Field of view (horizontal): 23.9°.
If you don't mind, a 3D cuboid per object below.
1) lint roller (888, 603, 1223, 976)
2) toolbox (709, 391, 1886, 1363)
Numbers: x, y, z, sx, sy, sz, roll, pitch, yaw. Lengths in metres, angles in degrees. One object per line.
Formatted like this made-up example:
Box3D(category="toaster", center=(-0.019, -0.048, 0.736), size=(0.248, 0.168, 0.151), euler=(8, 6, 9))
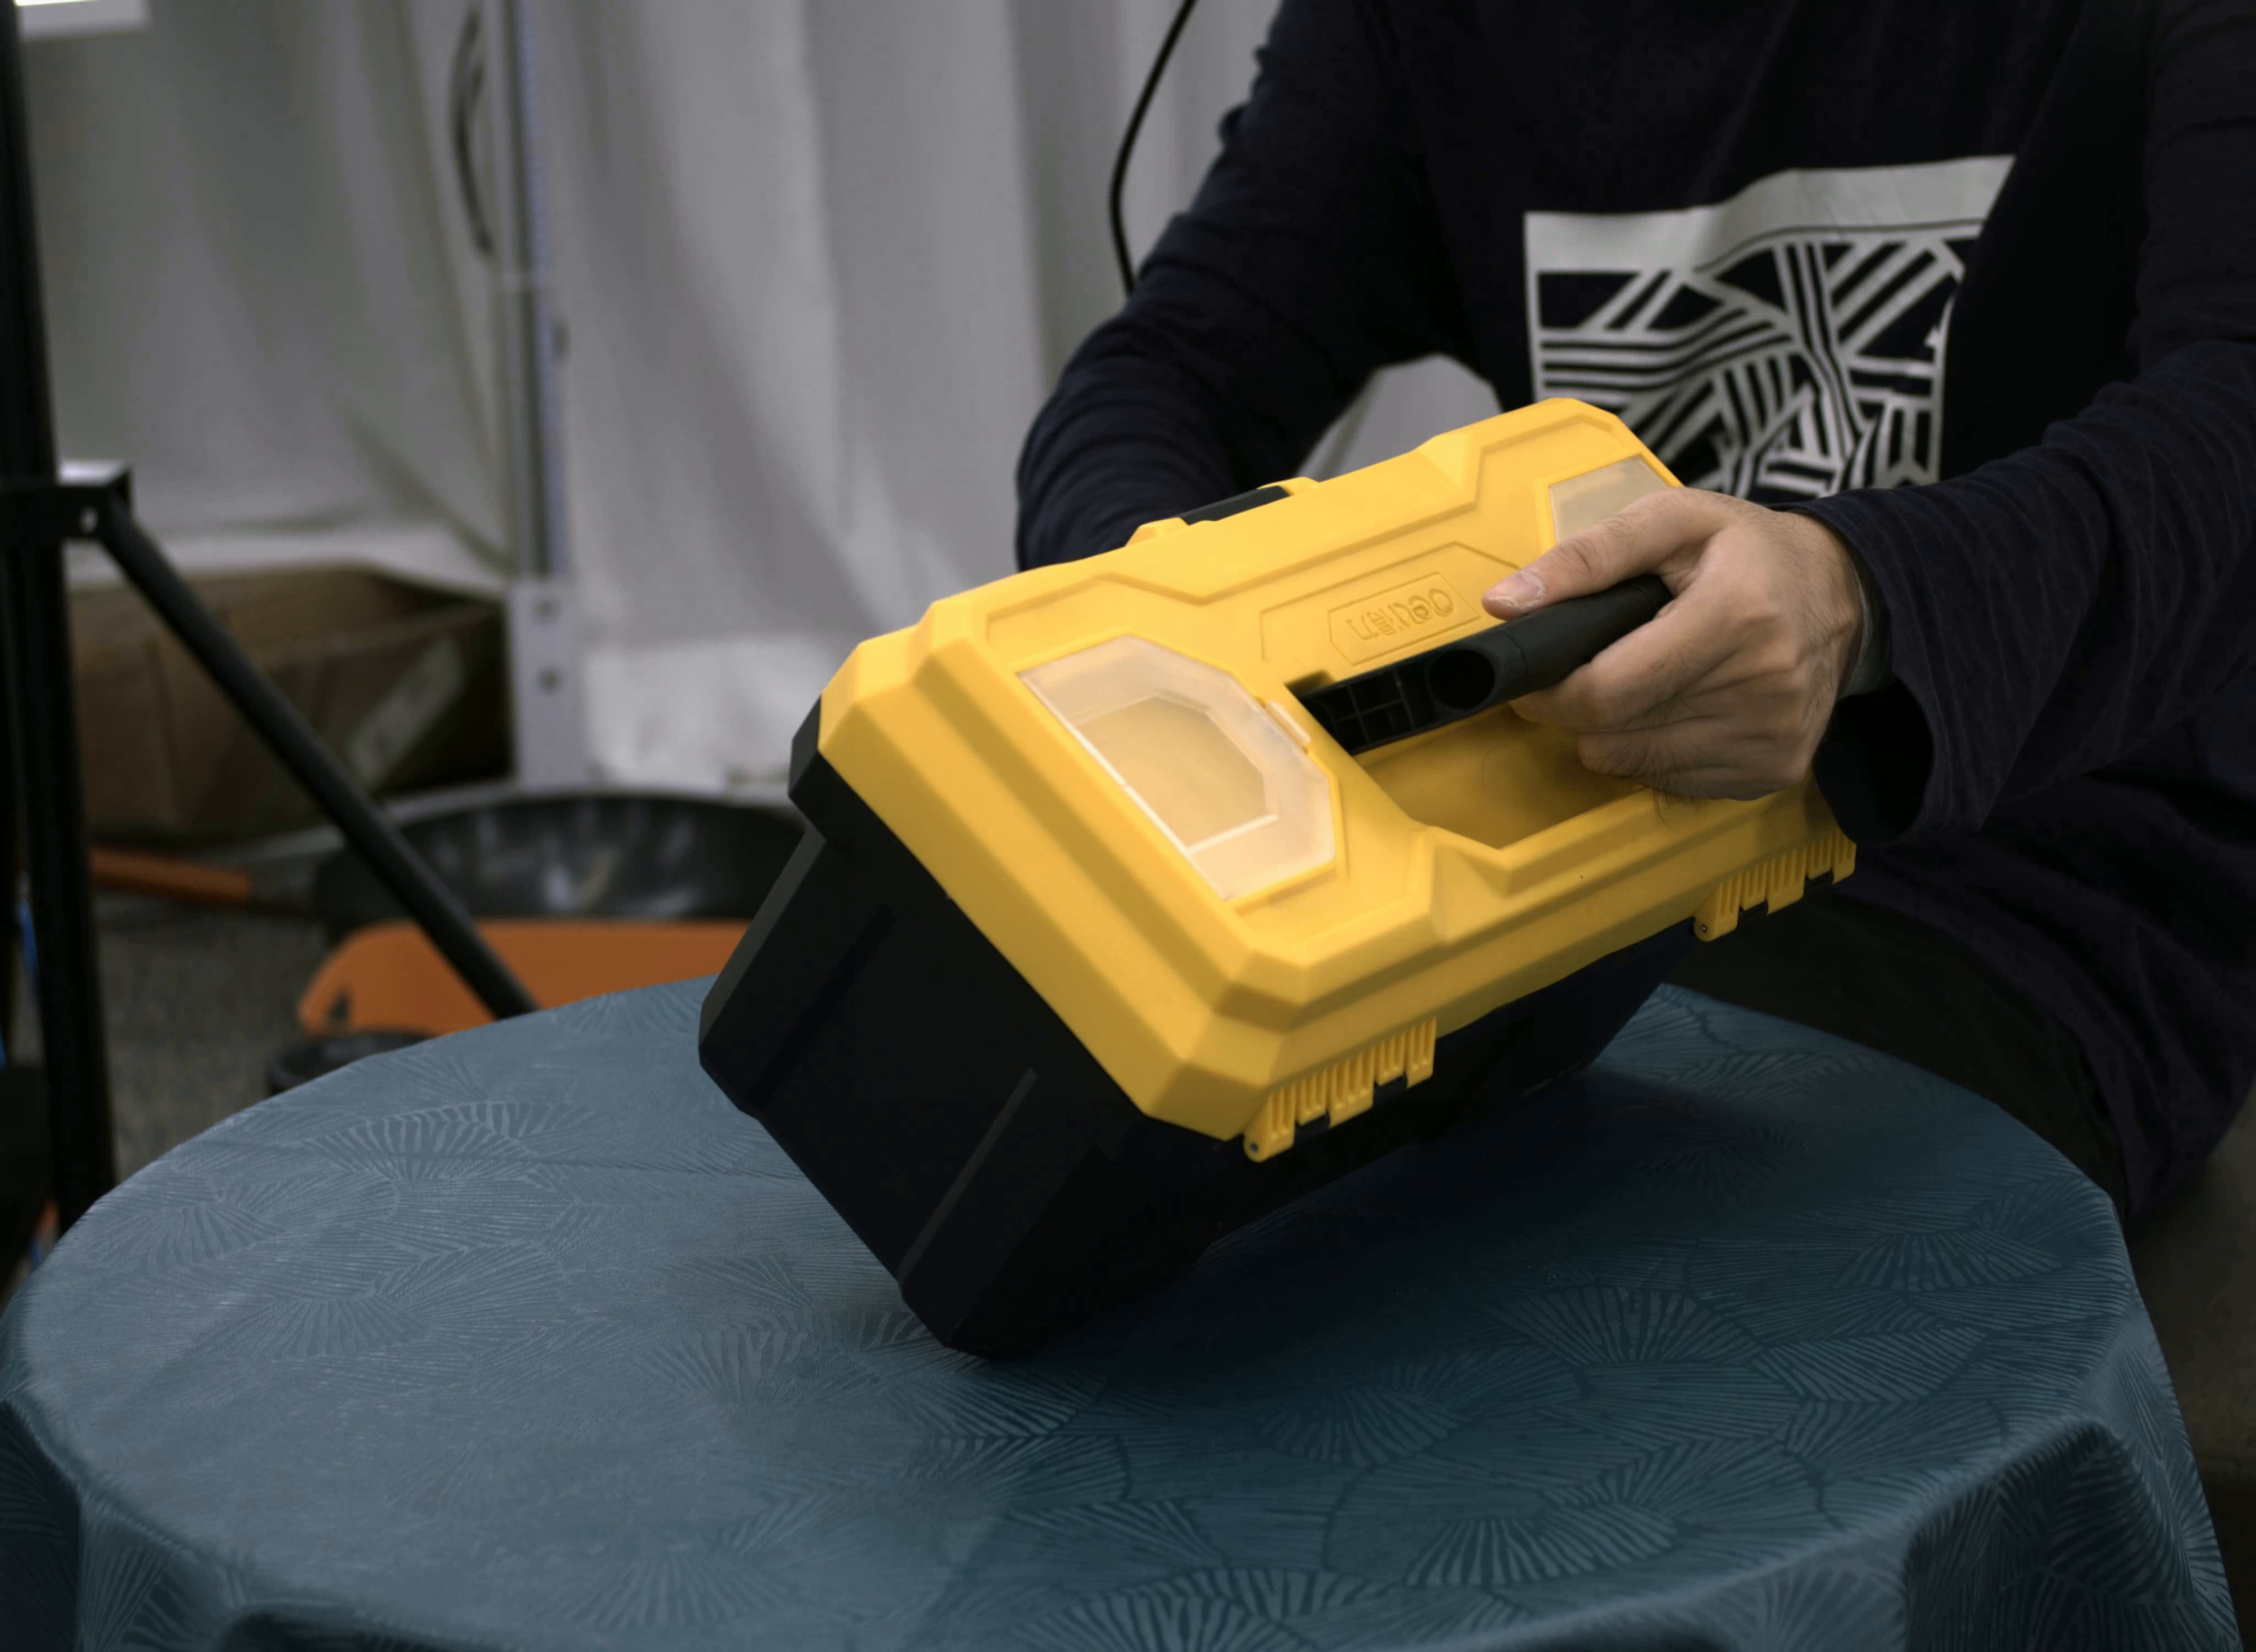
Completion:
Box3D(category="lint roller", center=(-0.015, -0.025, 1.677), size=(0.048, 0.135, 0.180), euler=(40, 14, -4))
Box3D(category="toolbox", center=(0.049, 0.009, 1.515), size=(0.184, 0.174, 0.344), euler=(48, 37, 17))
